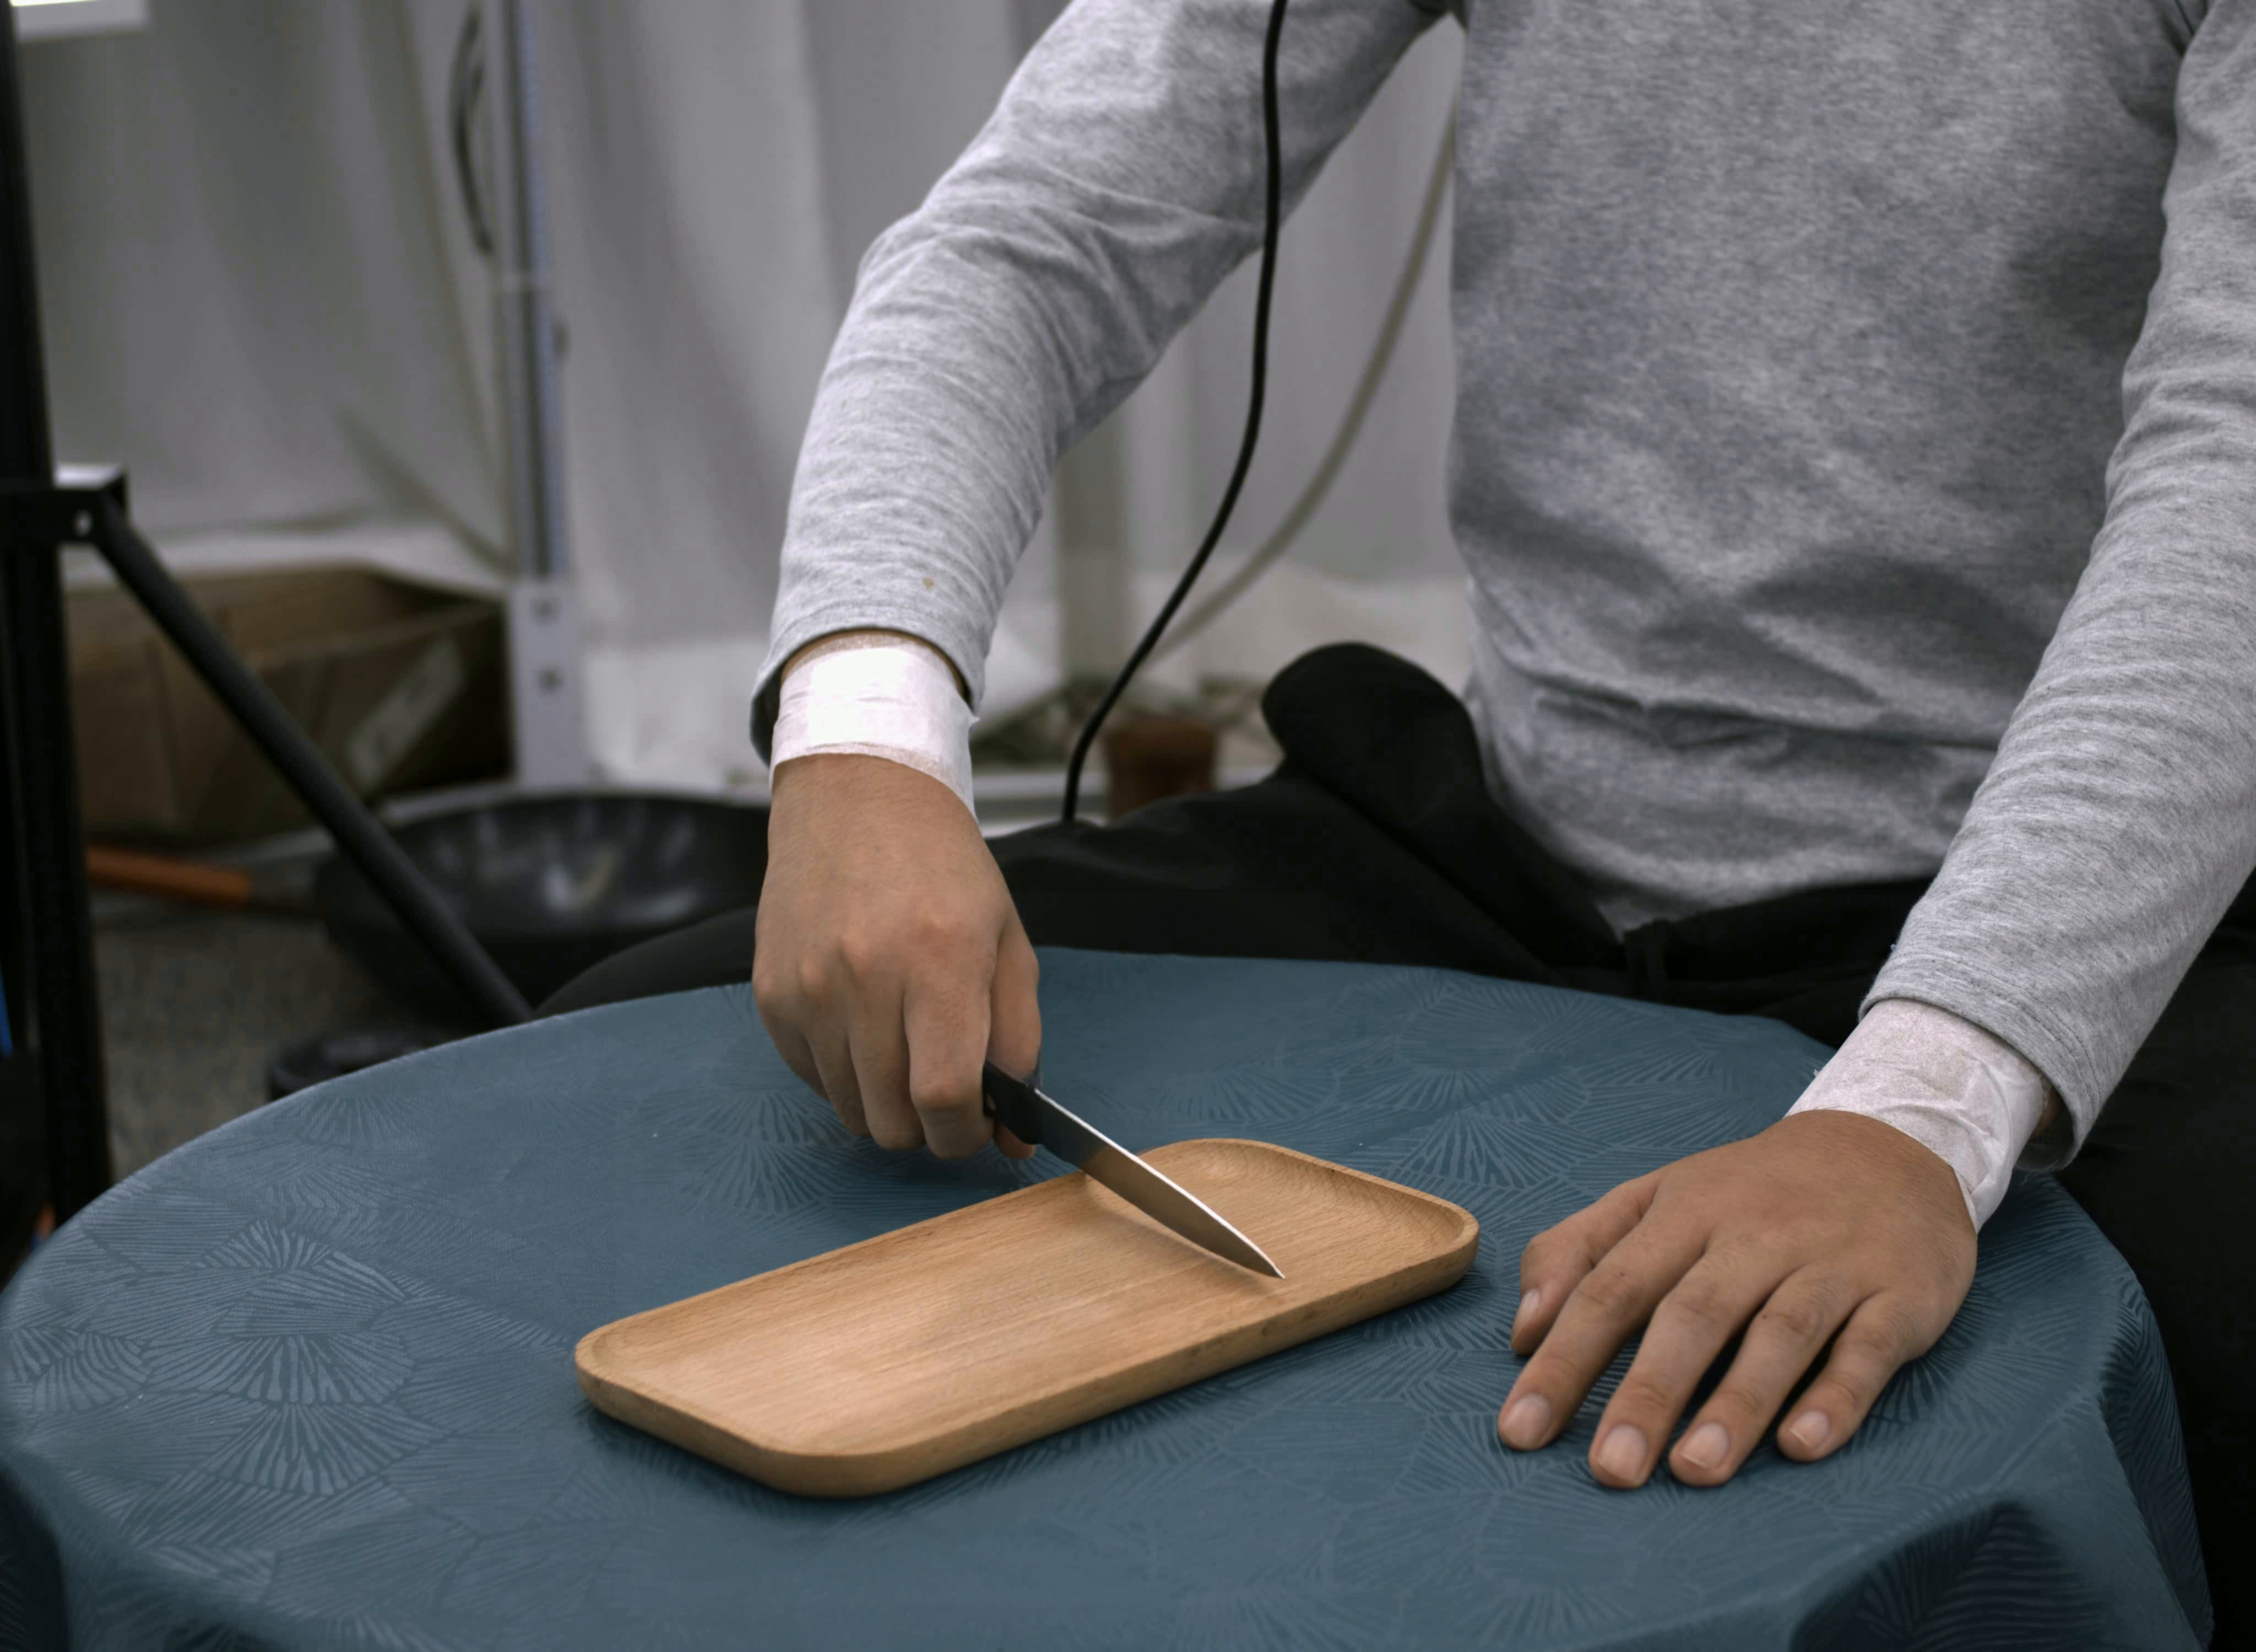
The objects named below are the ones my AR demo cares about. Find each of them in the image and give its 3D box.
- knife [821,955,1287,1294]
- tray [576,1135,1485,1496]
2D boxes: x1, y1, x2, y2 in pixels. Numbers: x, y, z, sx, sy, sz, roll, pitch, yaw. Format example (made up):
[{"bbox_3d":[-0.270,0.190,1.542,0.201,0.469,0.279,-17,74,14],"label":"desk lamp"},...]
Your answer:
[{"bbox_3d":[-0.023,0.086,1.542,0.016,0.024,0.244,-27,34,-24],"label":"knife"},{"bbox_3d":[-0.023,0.132,1.452,0.245,0.023,0.133,-14,22,-37],"label":"tray"}]
